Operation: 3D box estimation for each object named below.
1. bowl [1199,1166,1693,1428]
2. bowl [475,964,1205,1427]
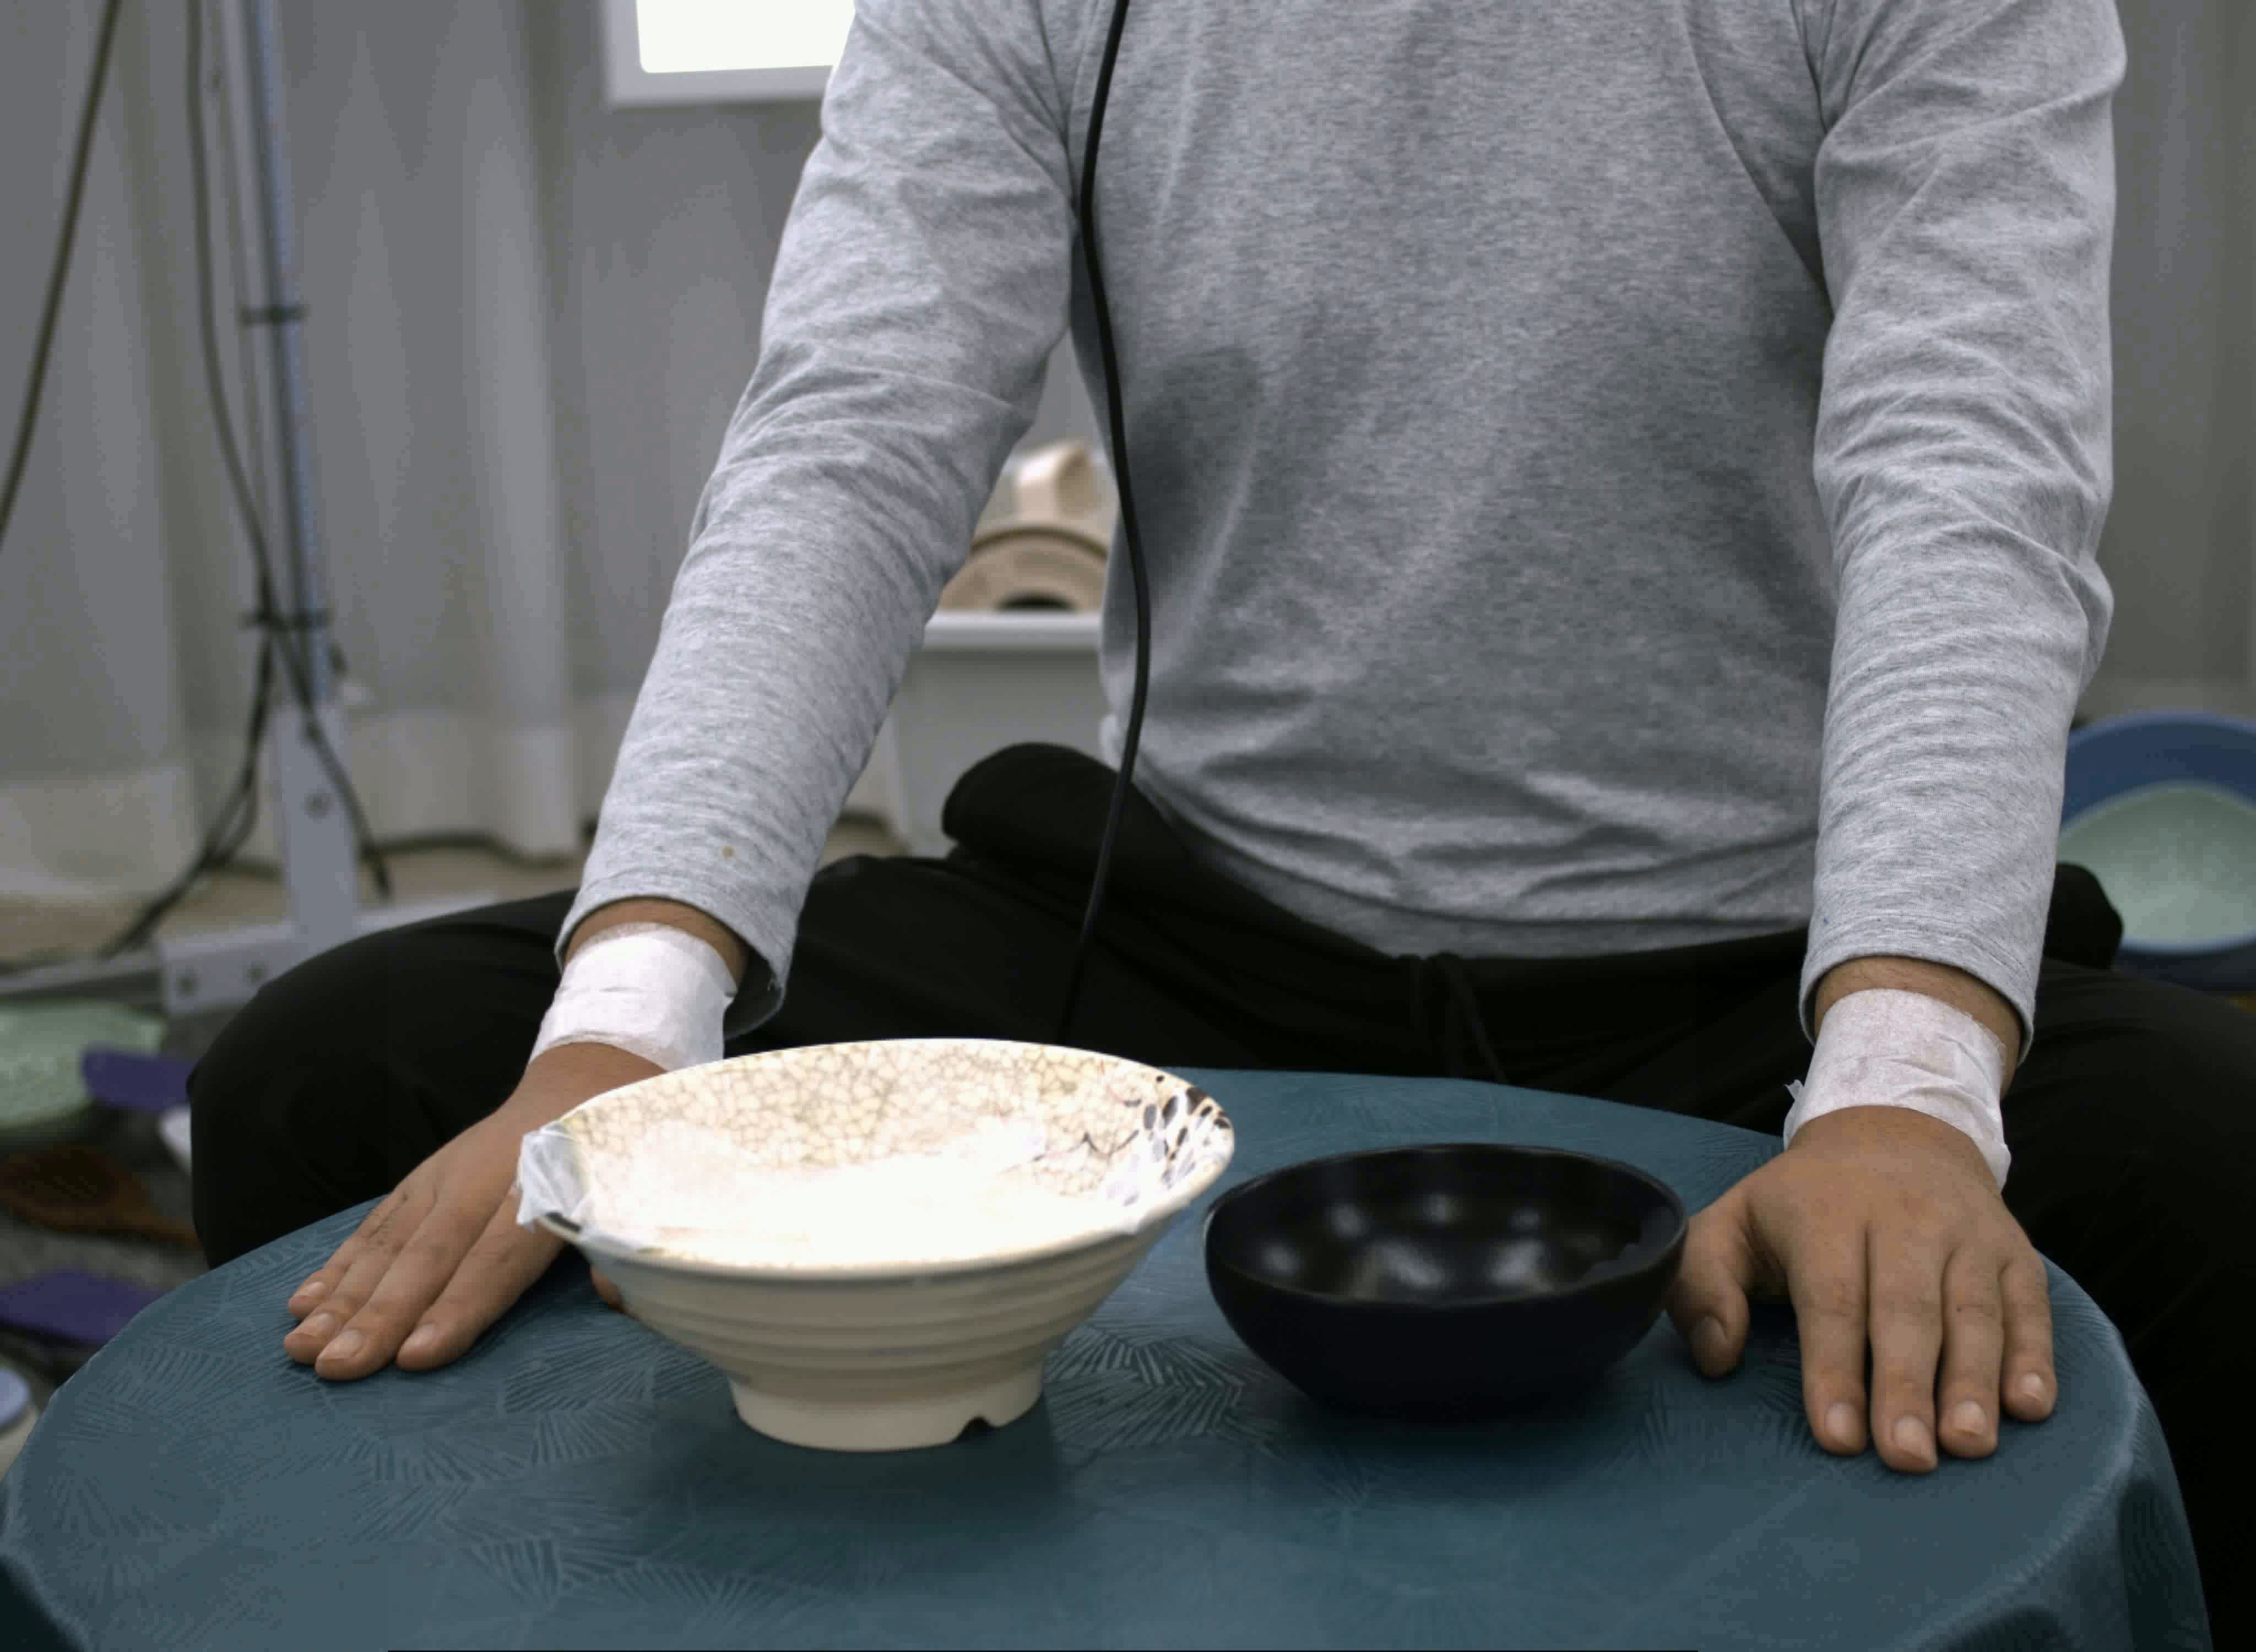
[{"bbox_3d":[0.089,0.136,1.536,0.139,0.049,0.140,0,10,0],"label":"bowl"},{"bbox_3d":[-0.079,0.115,1.537,0.203,0.077,0.206,-2,22,0],"label":"bowl"}]
